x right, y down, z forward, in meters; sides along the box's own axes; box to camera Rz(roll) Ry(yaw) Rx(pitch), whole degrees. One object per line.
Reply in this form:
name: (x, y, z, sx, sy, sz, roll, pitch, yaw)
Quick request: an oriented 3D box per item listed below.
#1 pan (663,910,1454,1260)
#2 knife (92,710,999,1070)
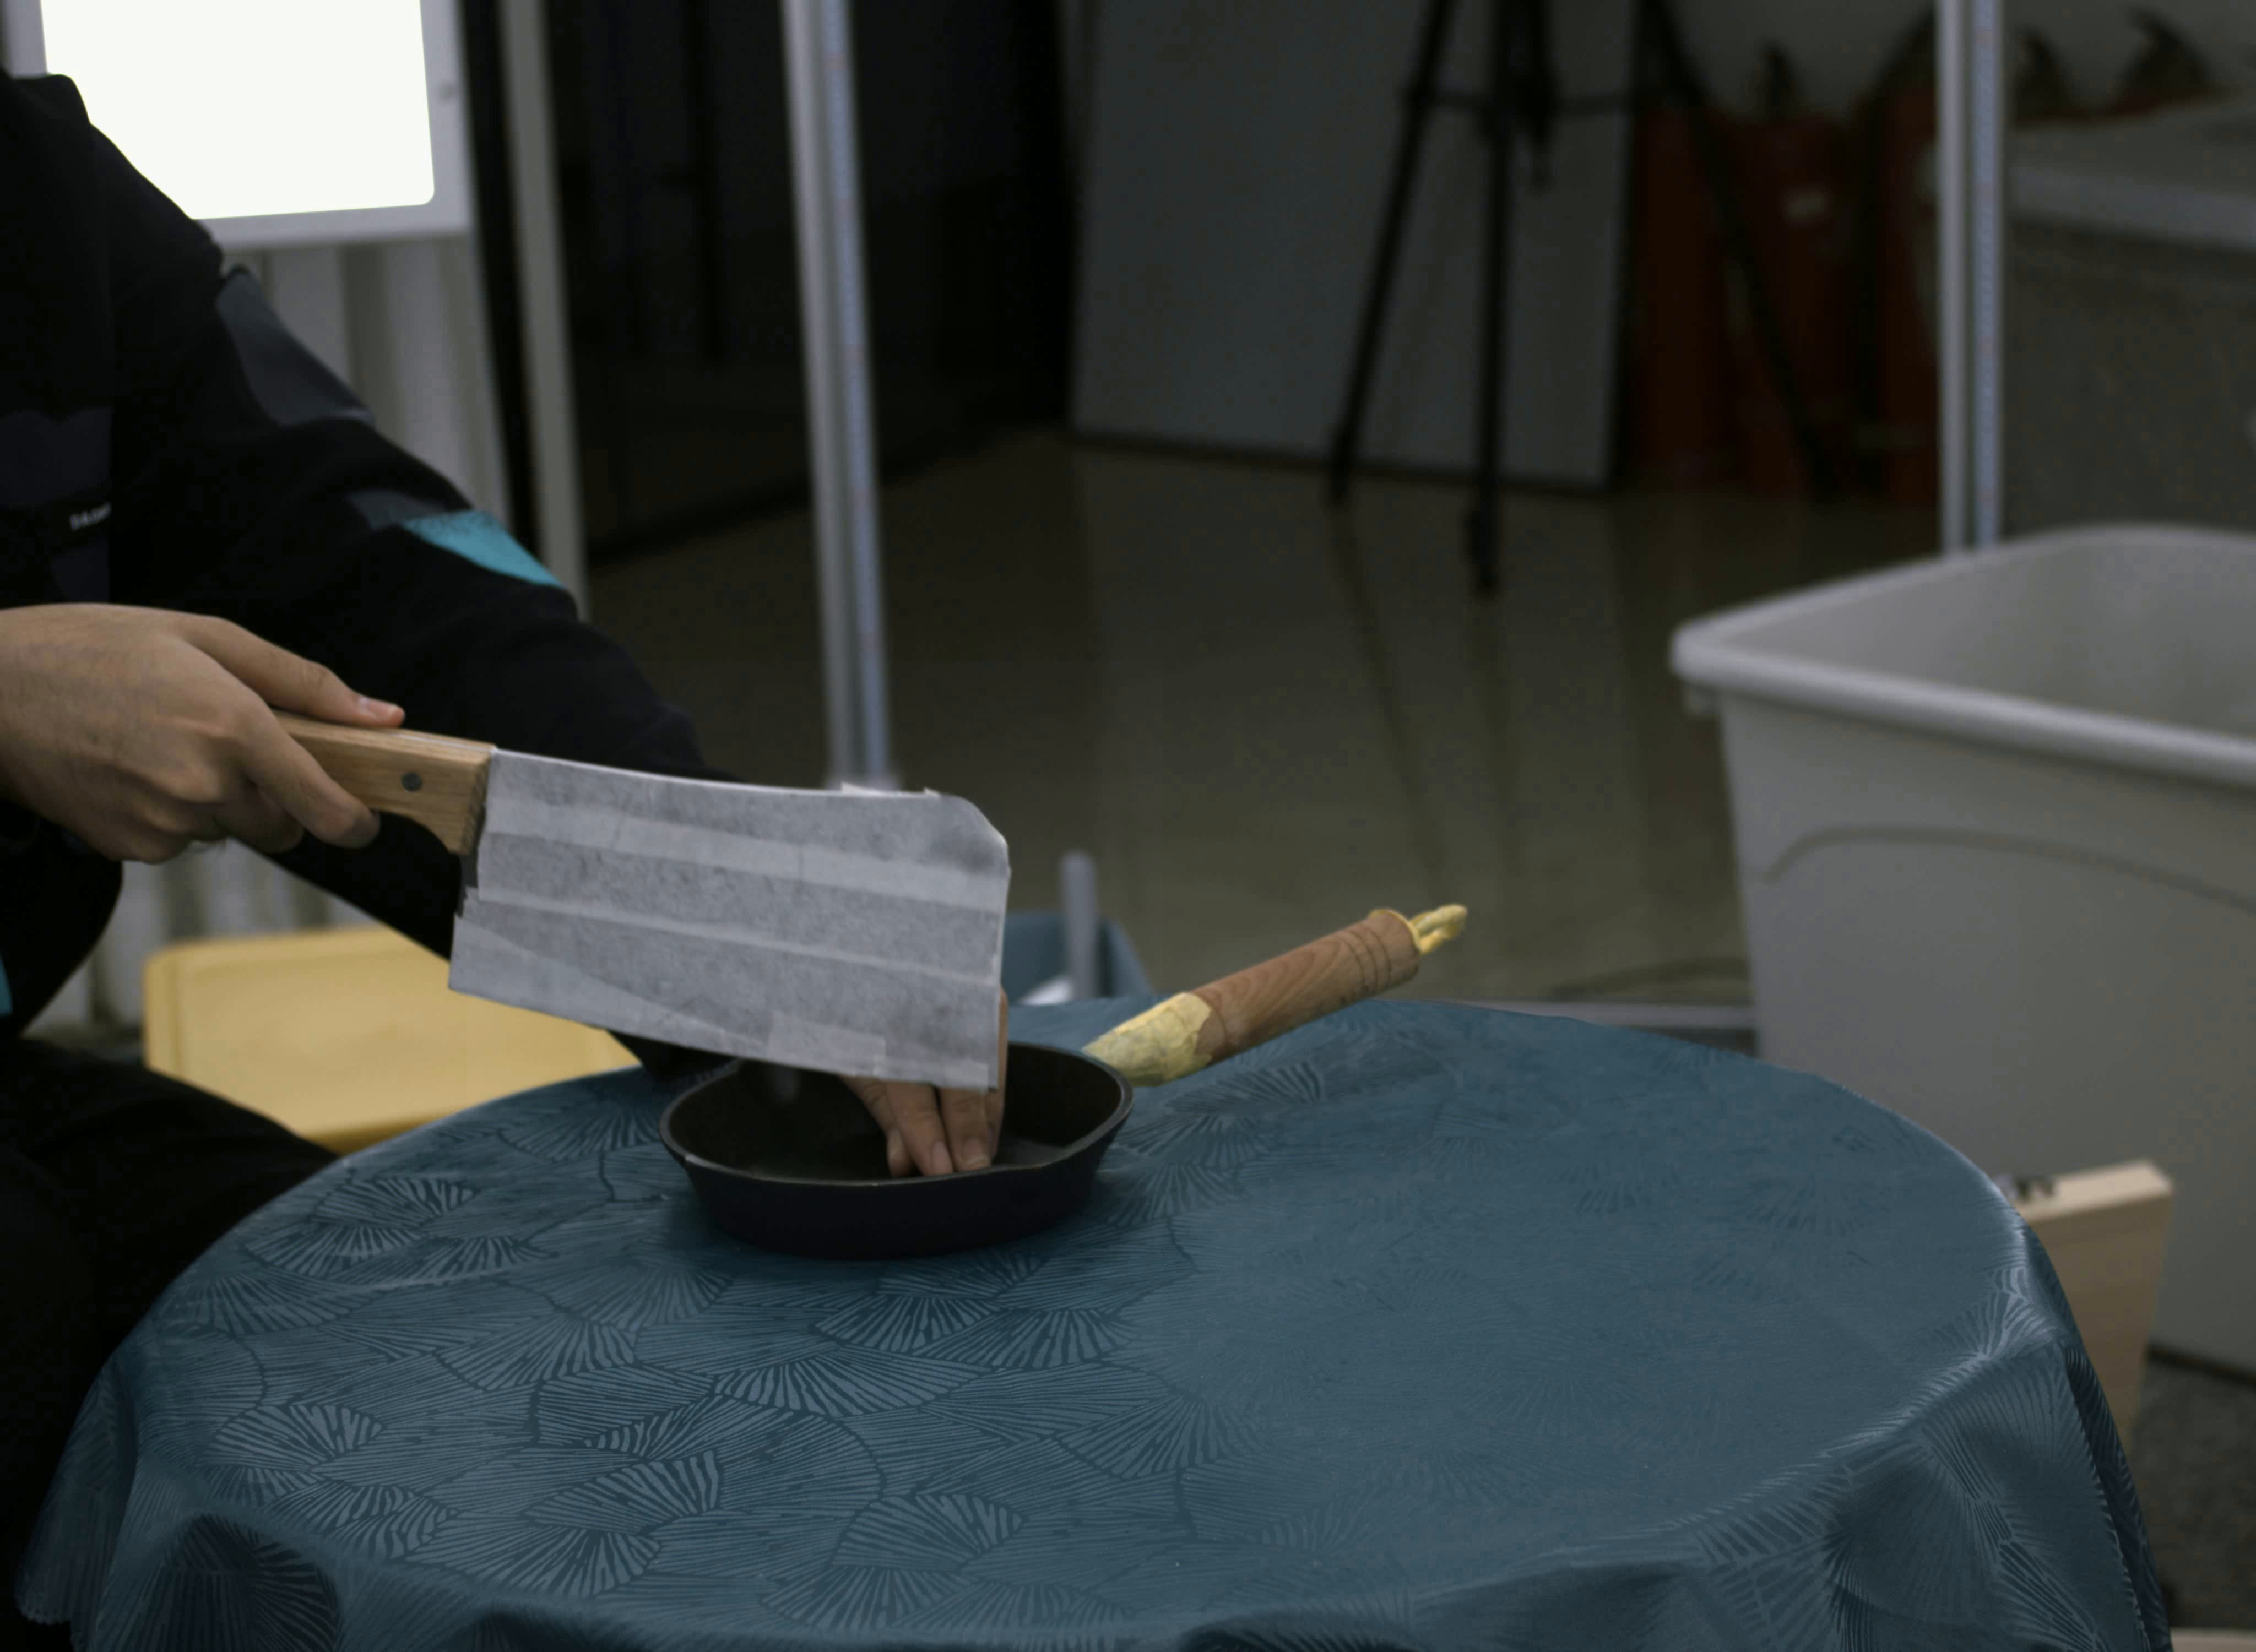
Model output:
pan: (-0.009, 0.084, 1.819, 0.317, 0.050, 0.171, -15, 16, -34)
knife: (-0.186, 0.009, 1.759, 0.313, 0.115, 0.021, 13, 17, 7)
